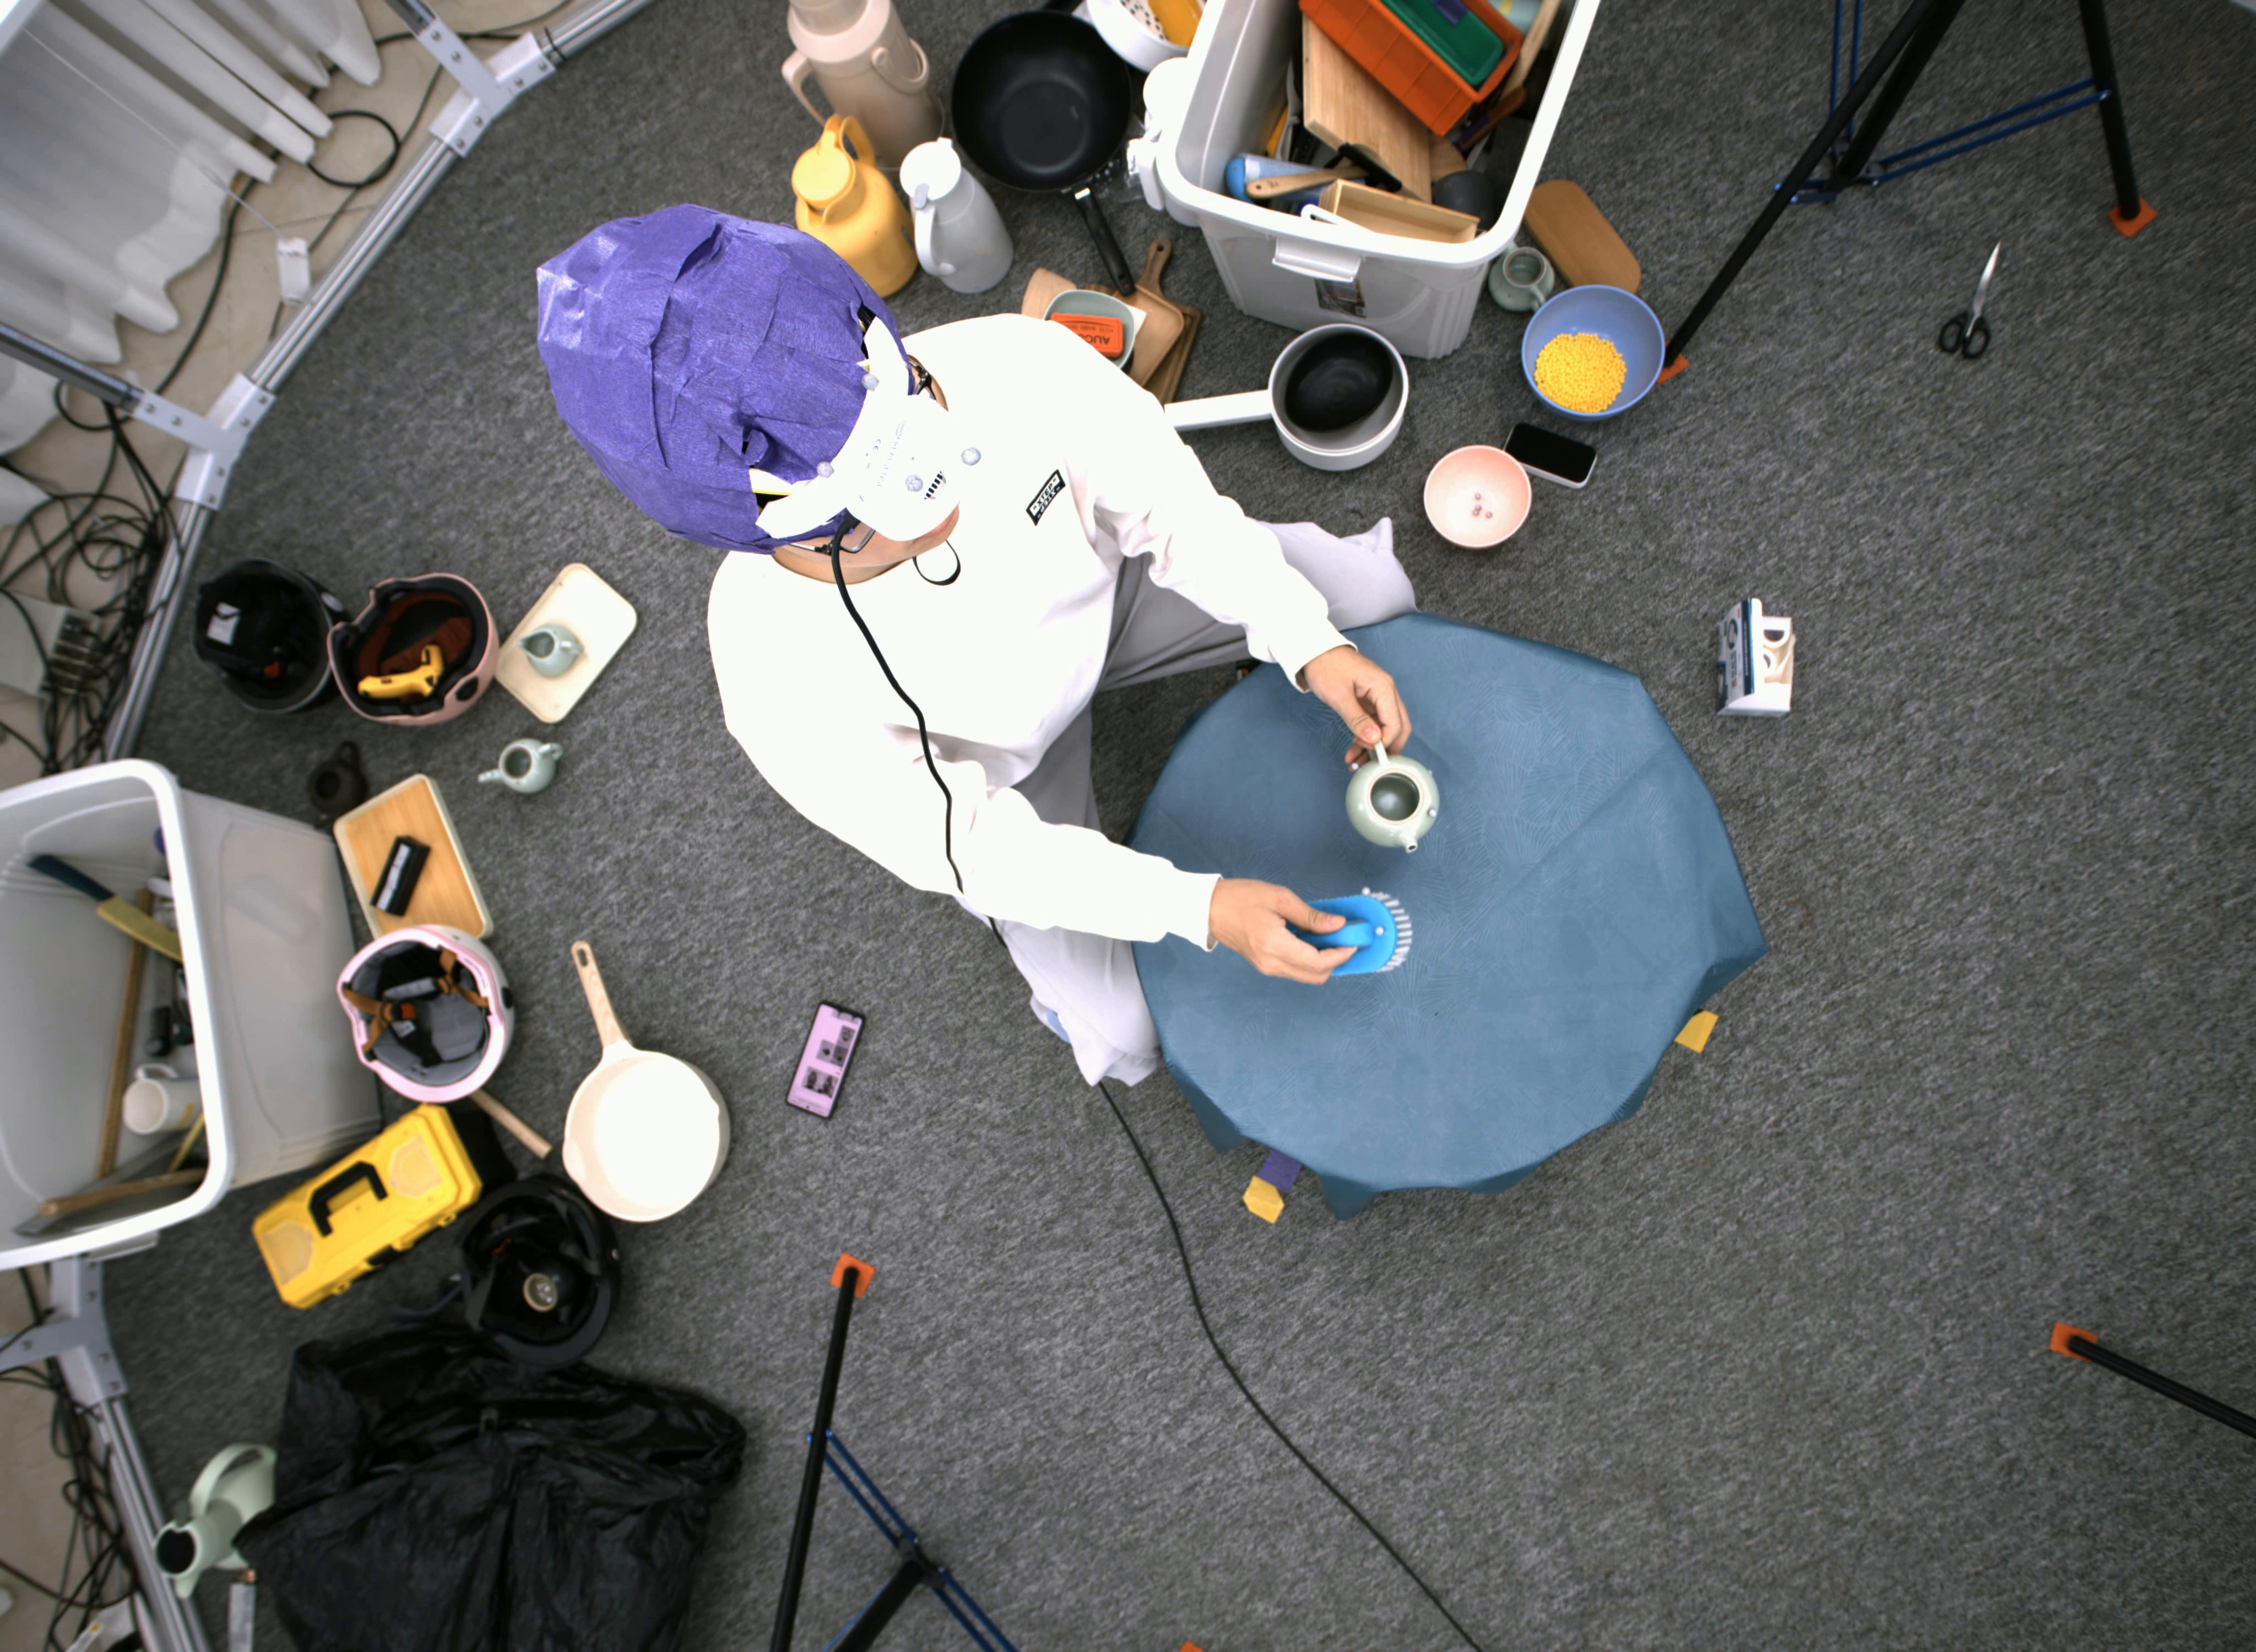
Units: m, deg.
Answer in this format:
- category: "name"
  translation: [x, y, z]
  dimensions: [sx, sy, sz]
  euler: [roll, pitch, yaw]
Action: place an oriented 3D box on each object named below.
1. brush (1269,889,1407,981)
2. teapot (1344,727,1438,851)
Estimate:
- category: "brush"
  translation: [0.192, 0.106, 1.320]
  dimensions: [0.143, 0.063, 0.084]
  euler: [-7, 93, 42]
- category: "teapot"
  translation: [0.255, -0.037, 1.350]
  dimensions: [0.092, 0.061, 0.128]
  euler: [-13, 84, 7]
